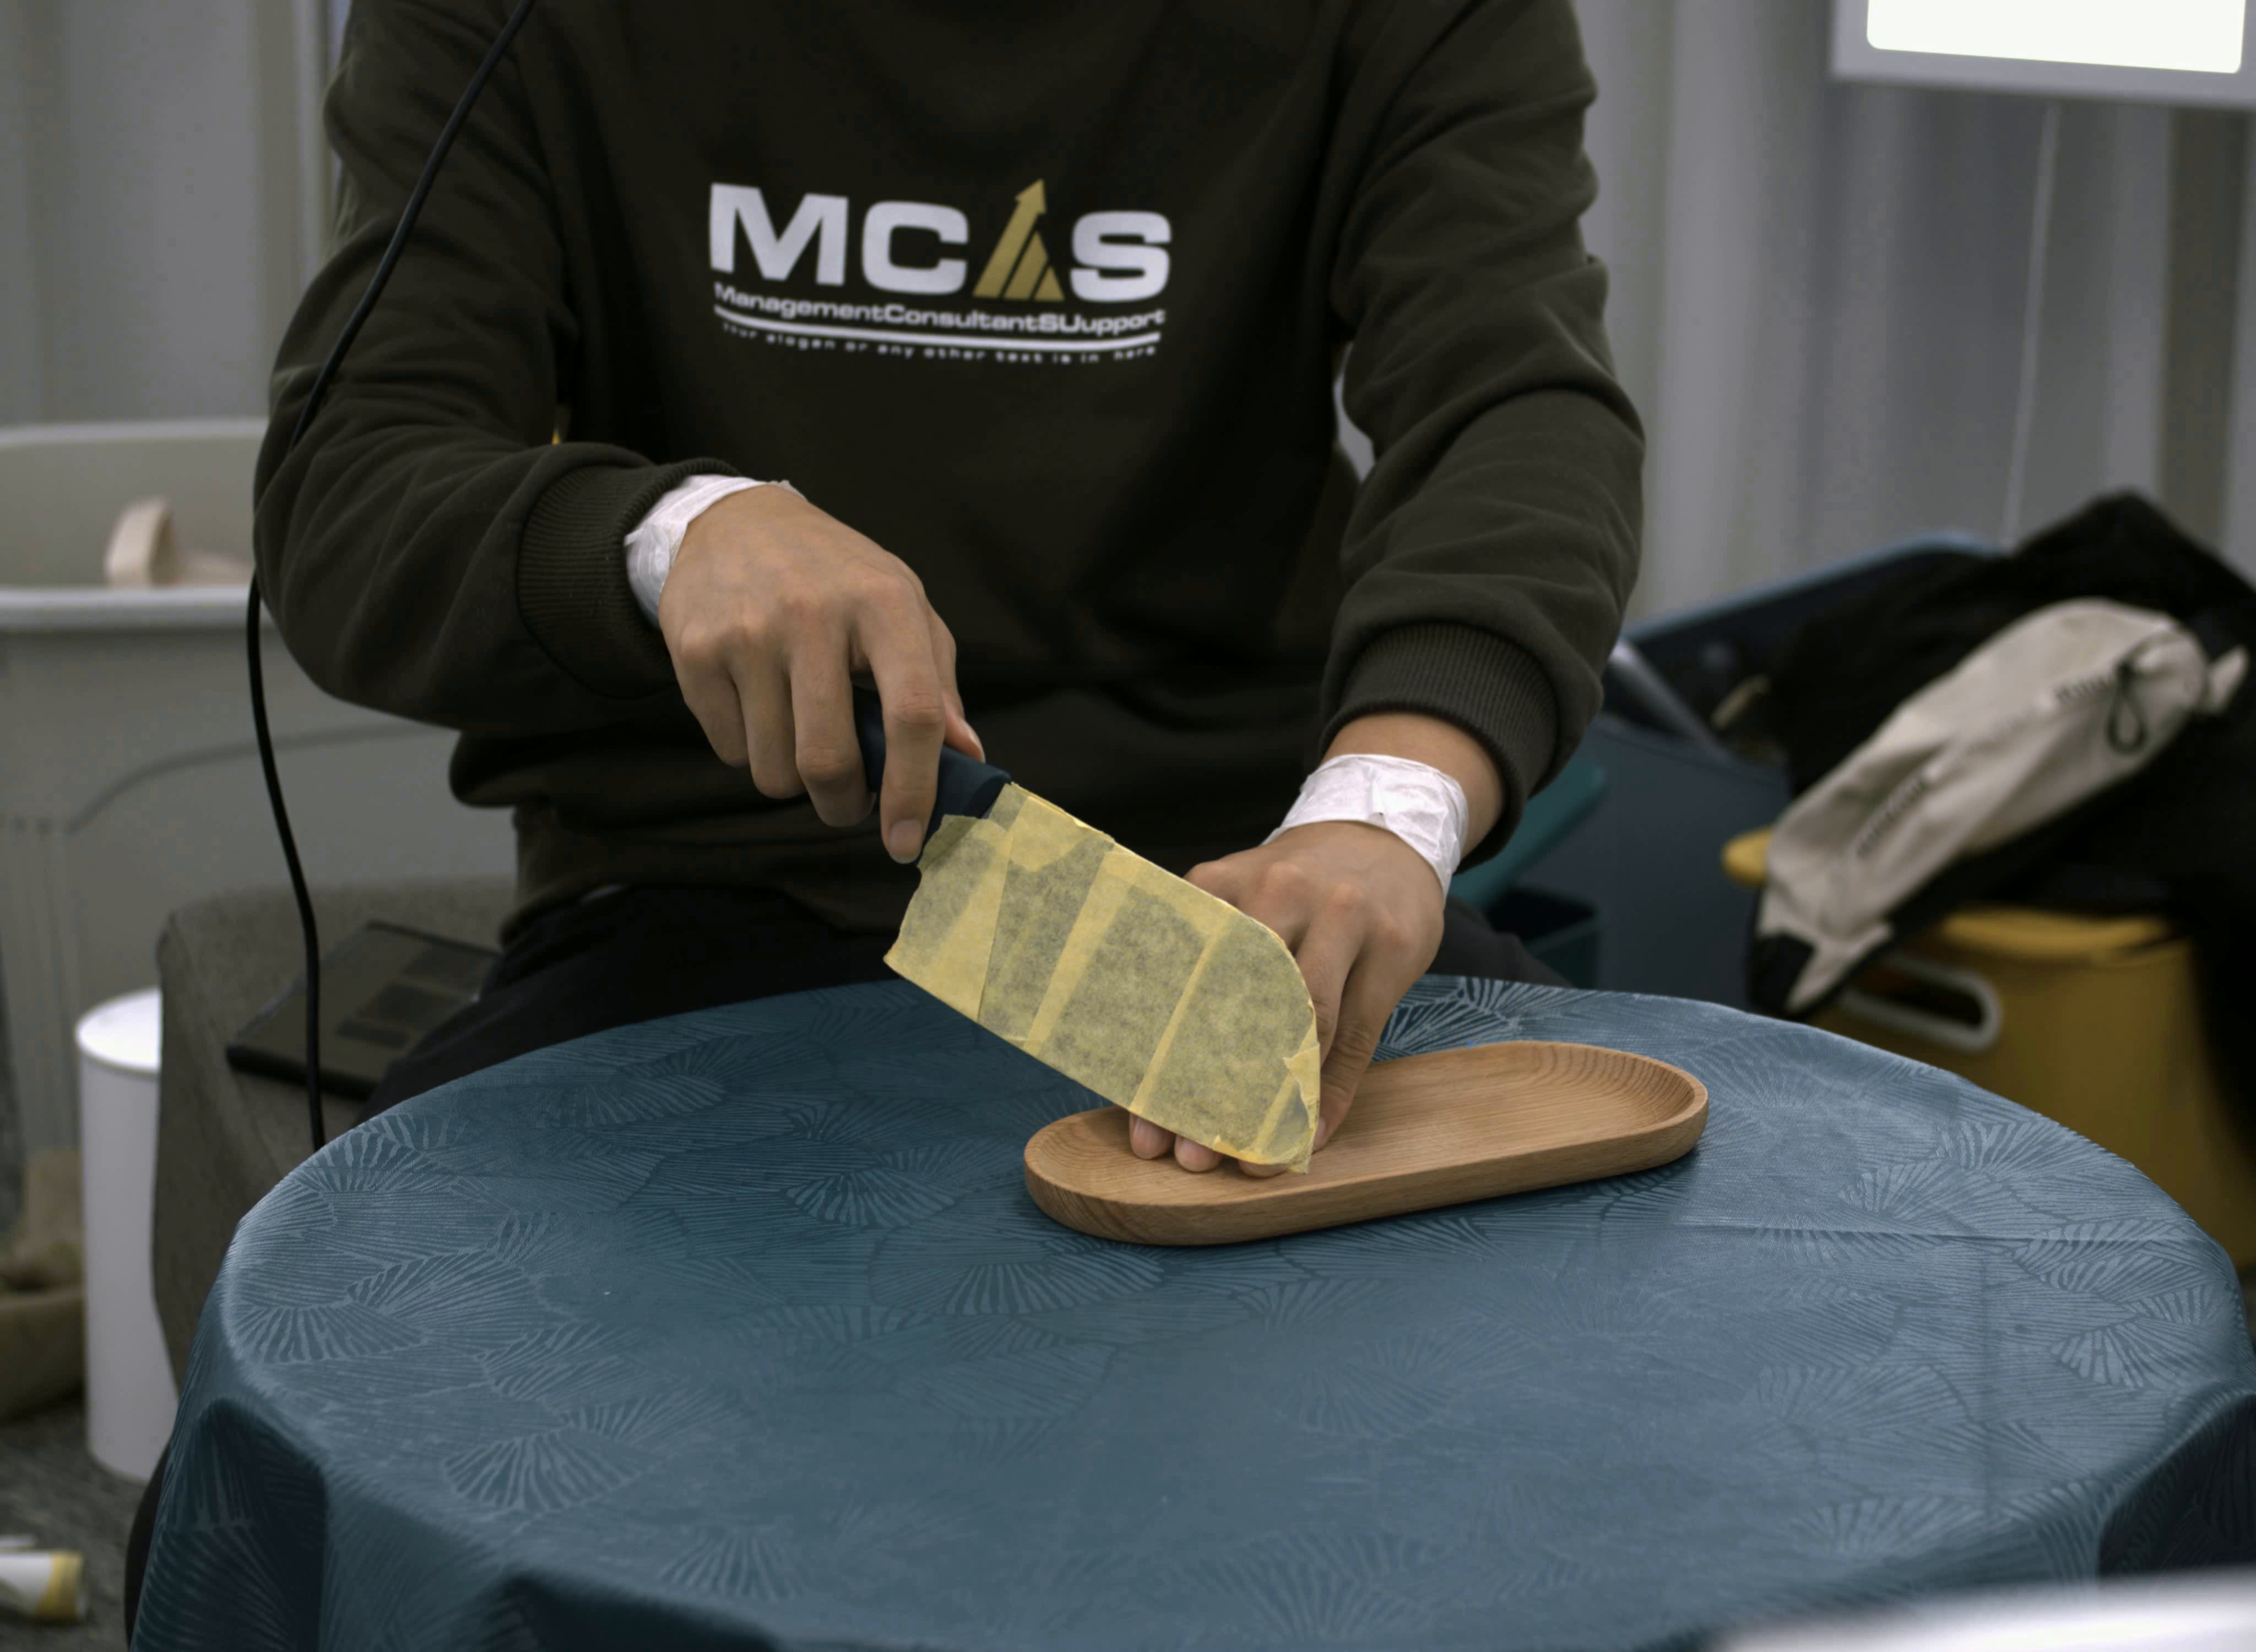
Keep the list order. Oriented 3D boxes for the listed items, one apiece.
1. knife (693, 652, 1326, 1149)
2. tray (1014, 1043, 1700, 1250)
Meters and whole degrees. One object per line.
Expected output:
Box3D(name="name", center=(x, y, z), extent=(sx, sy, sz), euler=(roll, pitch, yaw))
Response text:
Box3D(name="knife", center=(-0.043, 0.021, 1.671), extent=(0.285, 0.081, 0.027), euler=(33, 9, 32))
Box3D(name="tray", center=(0.073, 0.100, 1.645), extent=(0.232, 0.020, 0.100), euler=(-9, 17, -27))
